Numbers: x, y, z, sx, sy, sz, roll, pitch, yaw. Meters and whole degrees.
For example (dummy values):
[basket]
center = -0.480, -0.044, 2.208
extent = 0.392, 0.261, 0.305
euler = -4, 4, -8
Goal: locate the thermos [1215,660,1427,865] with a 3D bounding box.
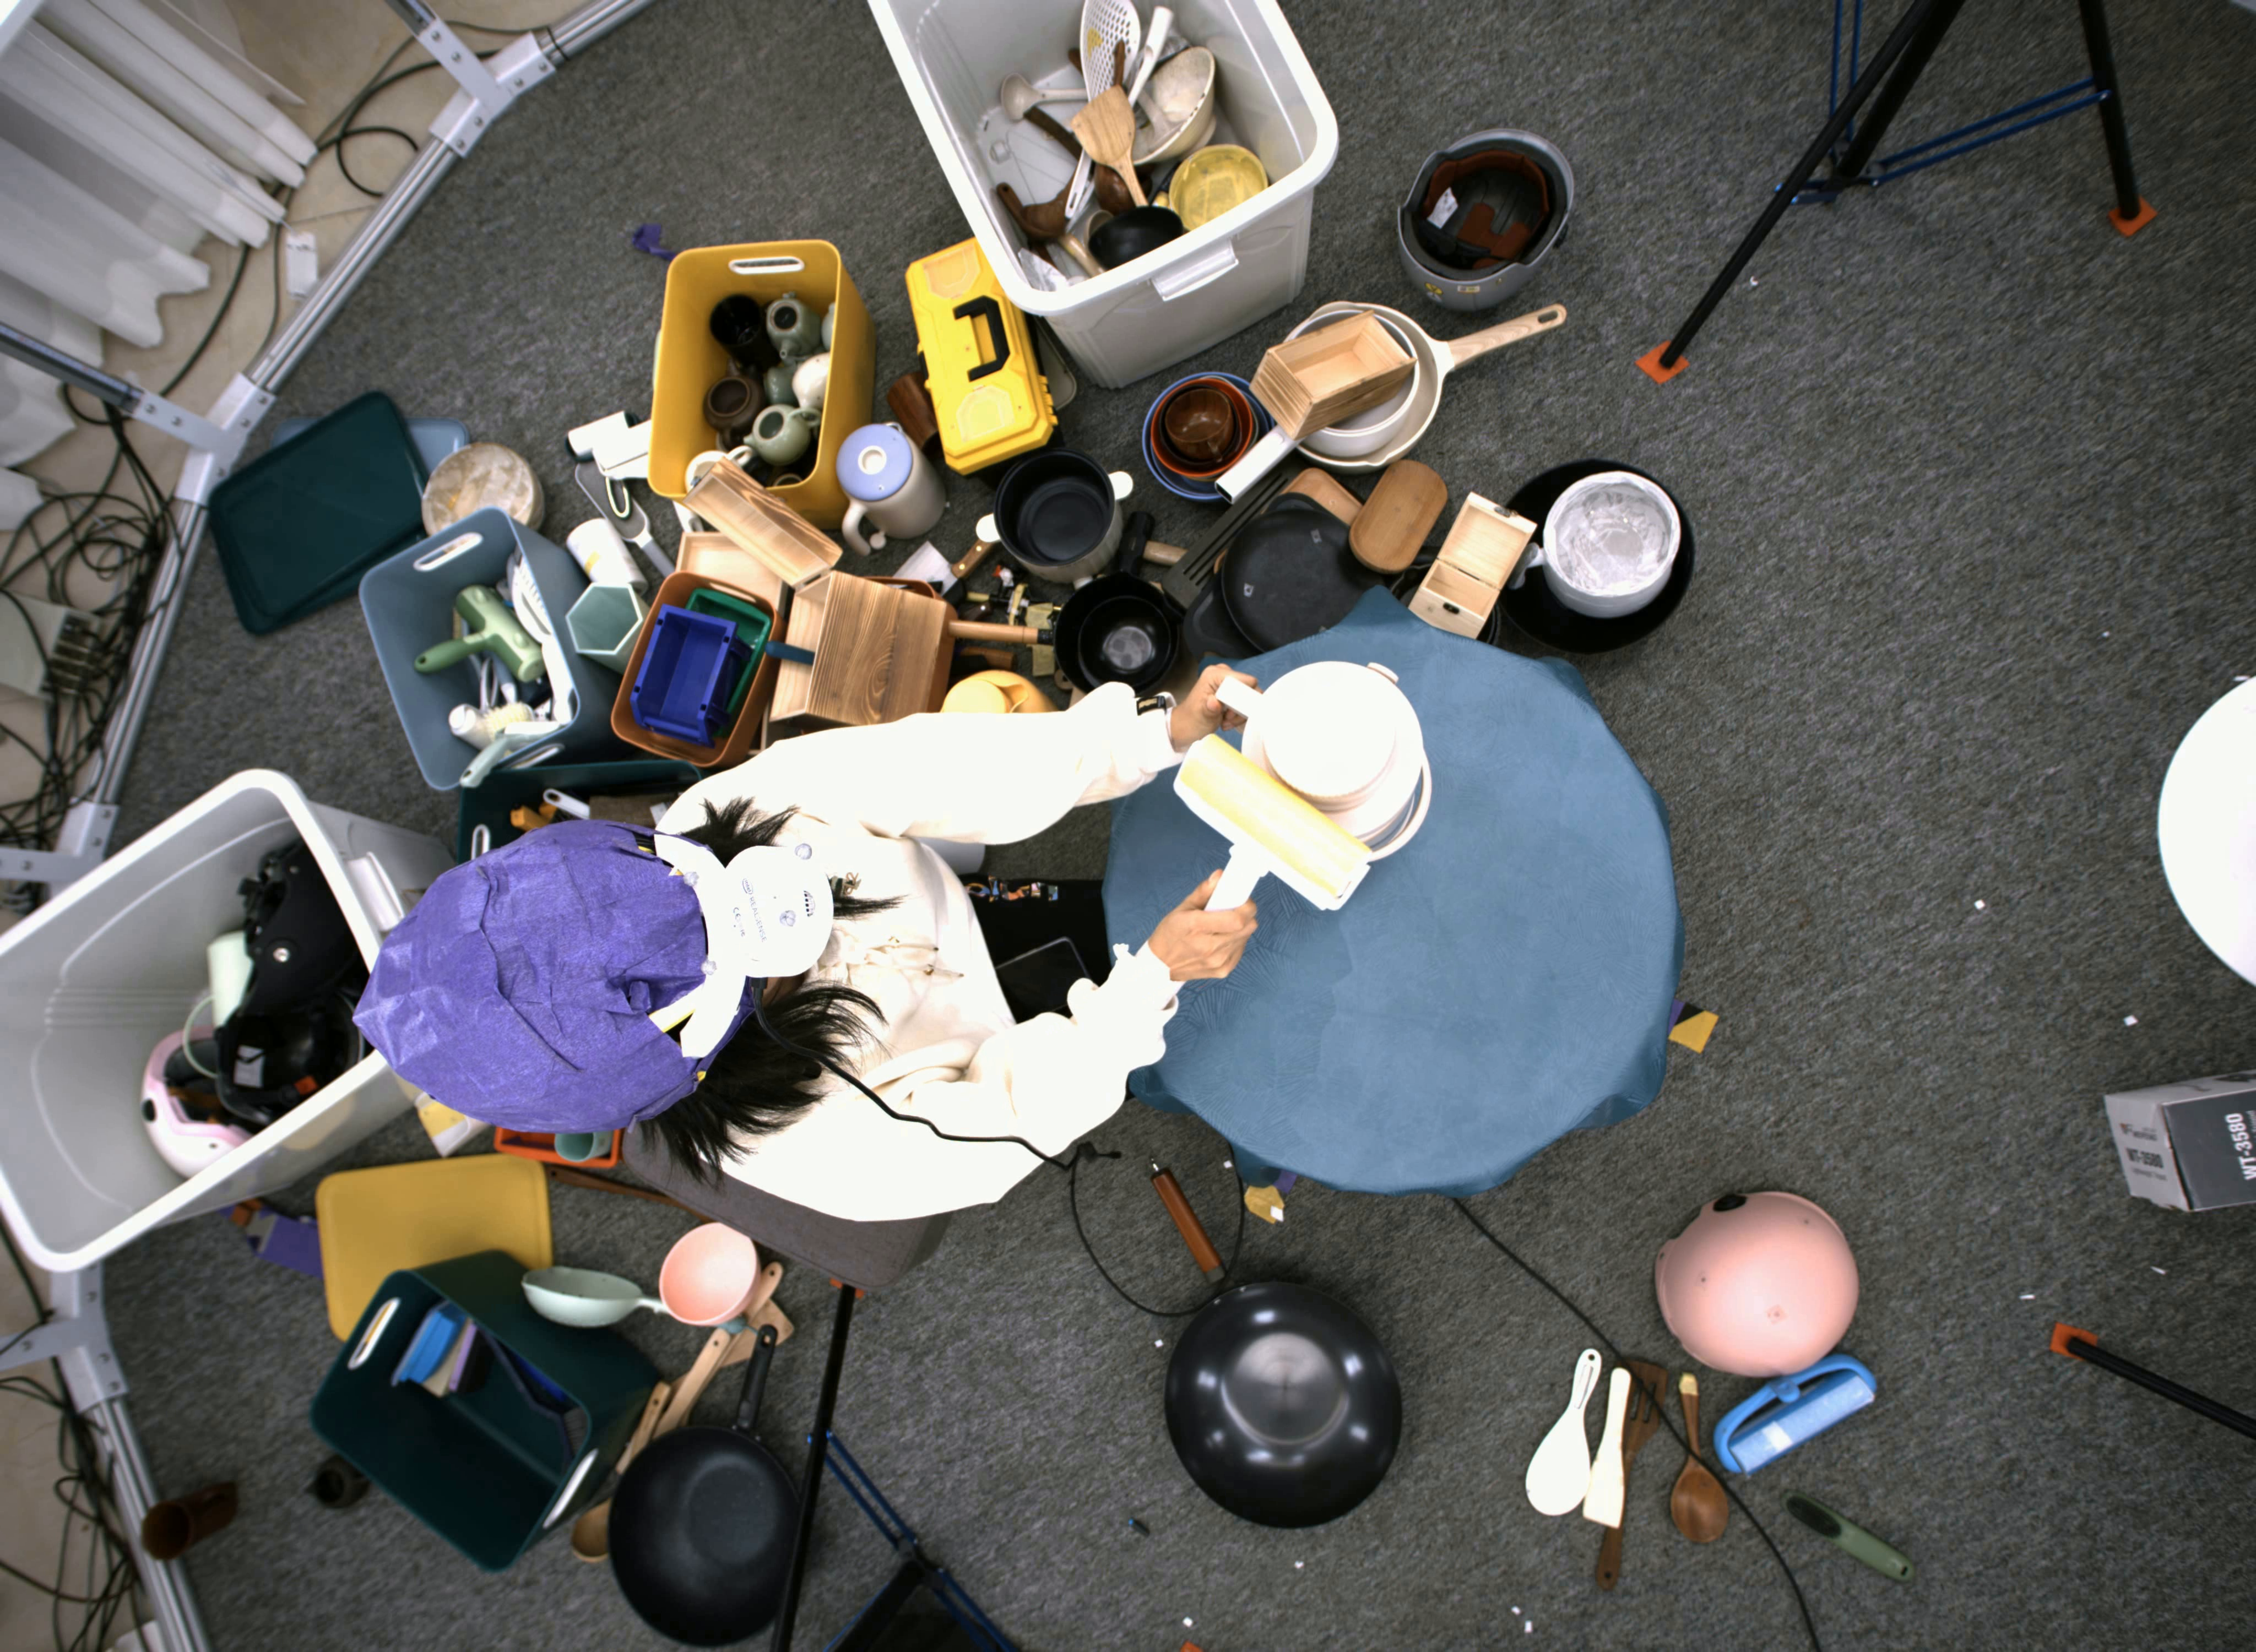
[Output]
[thermos]
center = 0.181, -0.065, 1.283
extent = 0.206, 0.407, 0.175
euler = 32, 91, 12

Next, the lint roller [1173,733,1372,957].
[lint roller]
center = 0.090, 0.043, 1.148
extent = 0.173, 0.050, 0.197
euler = 37, 124, 15
